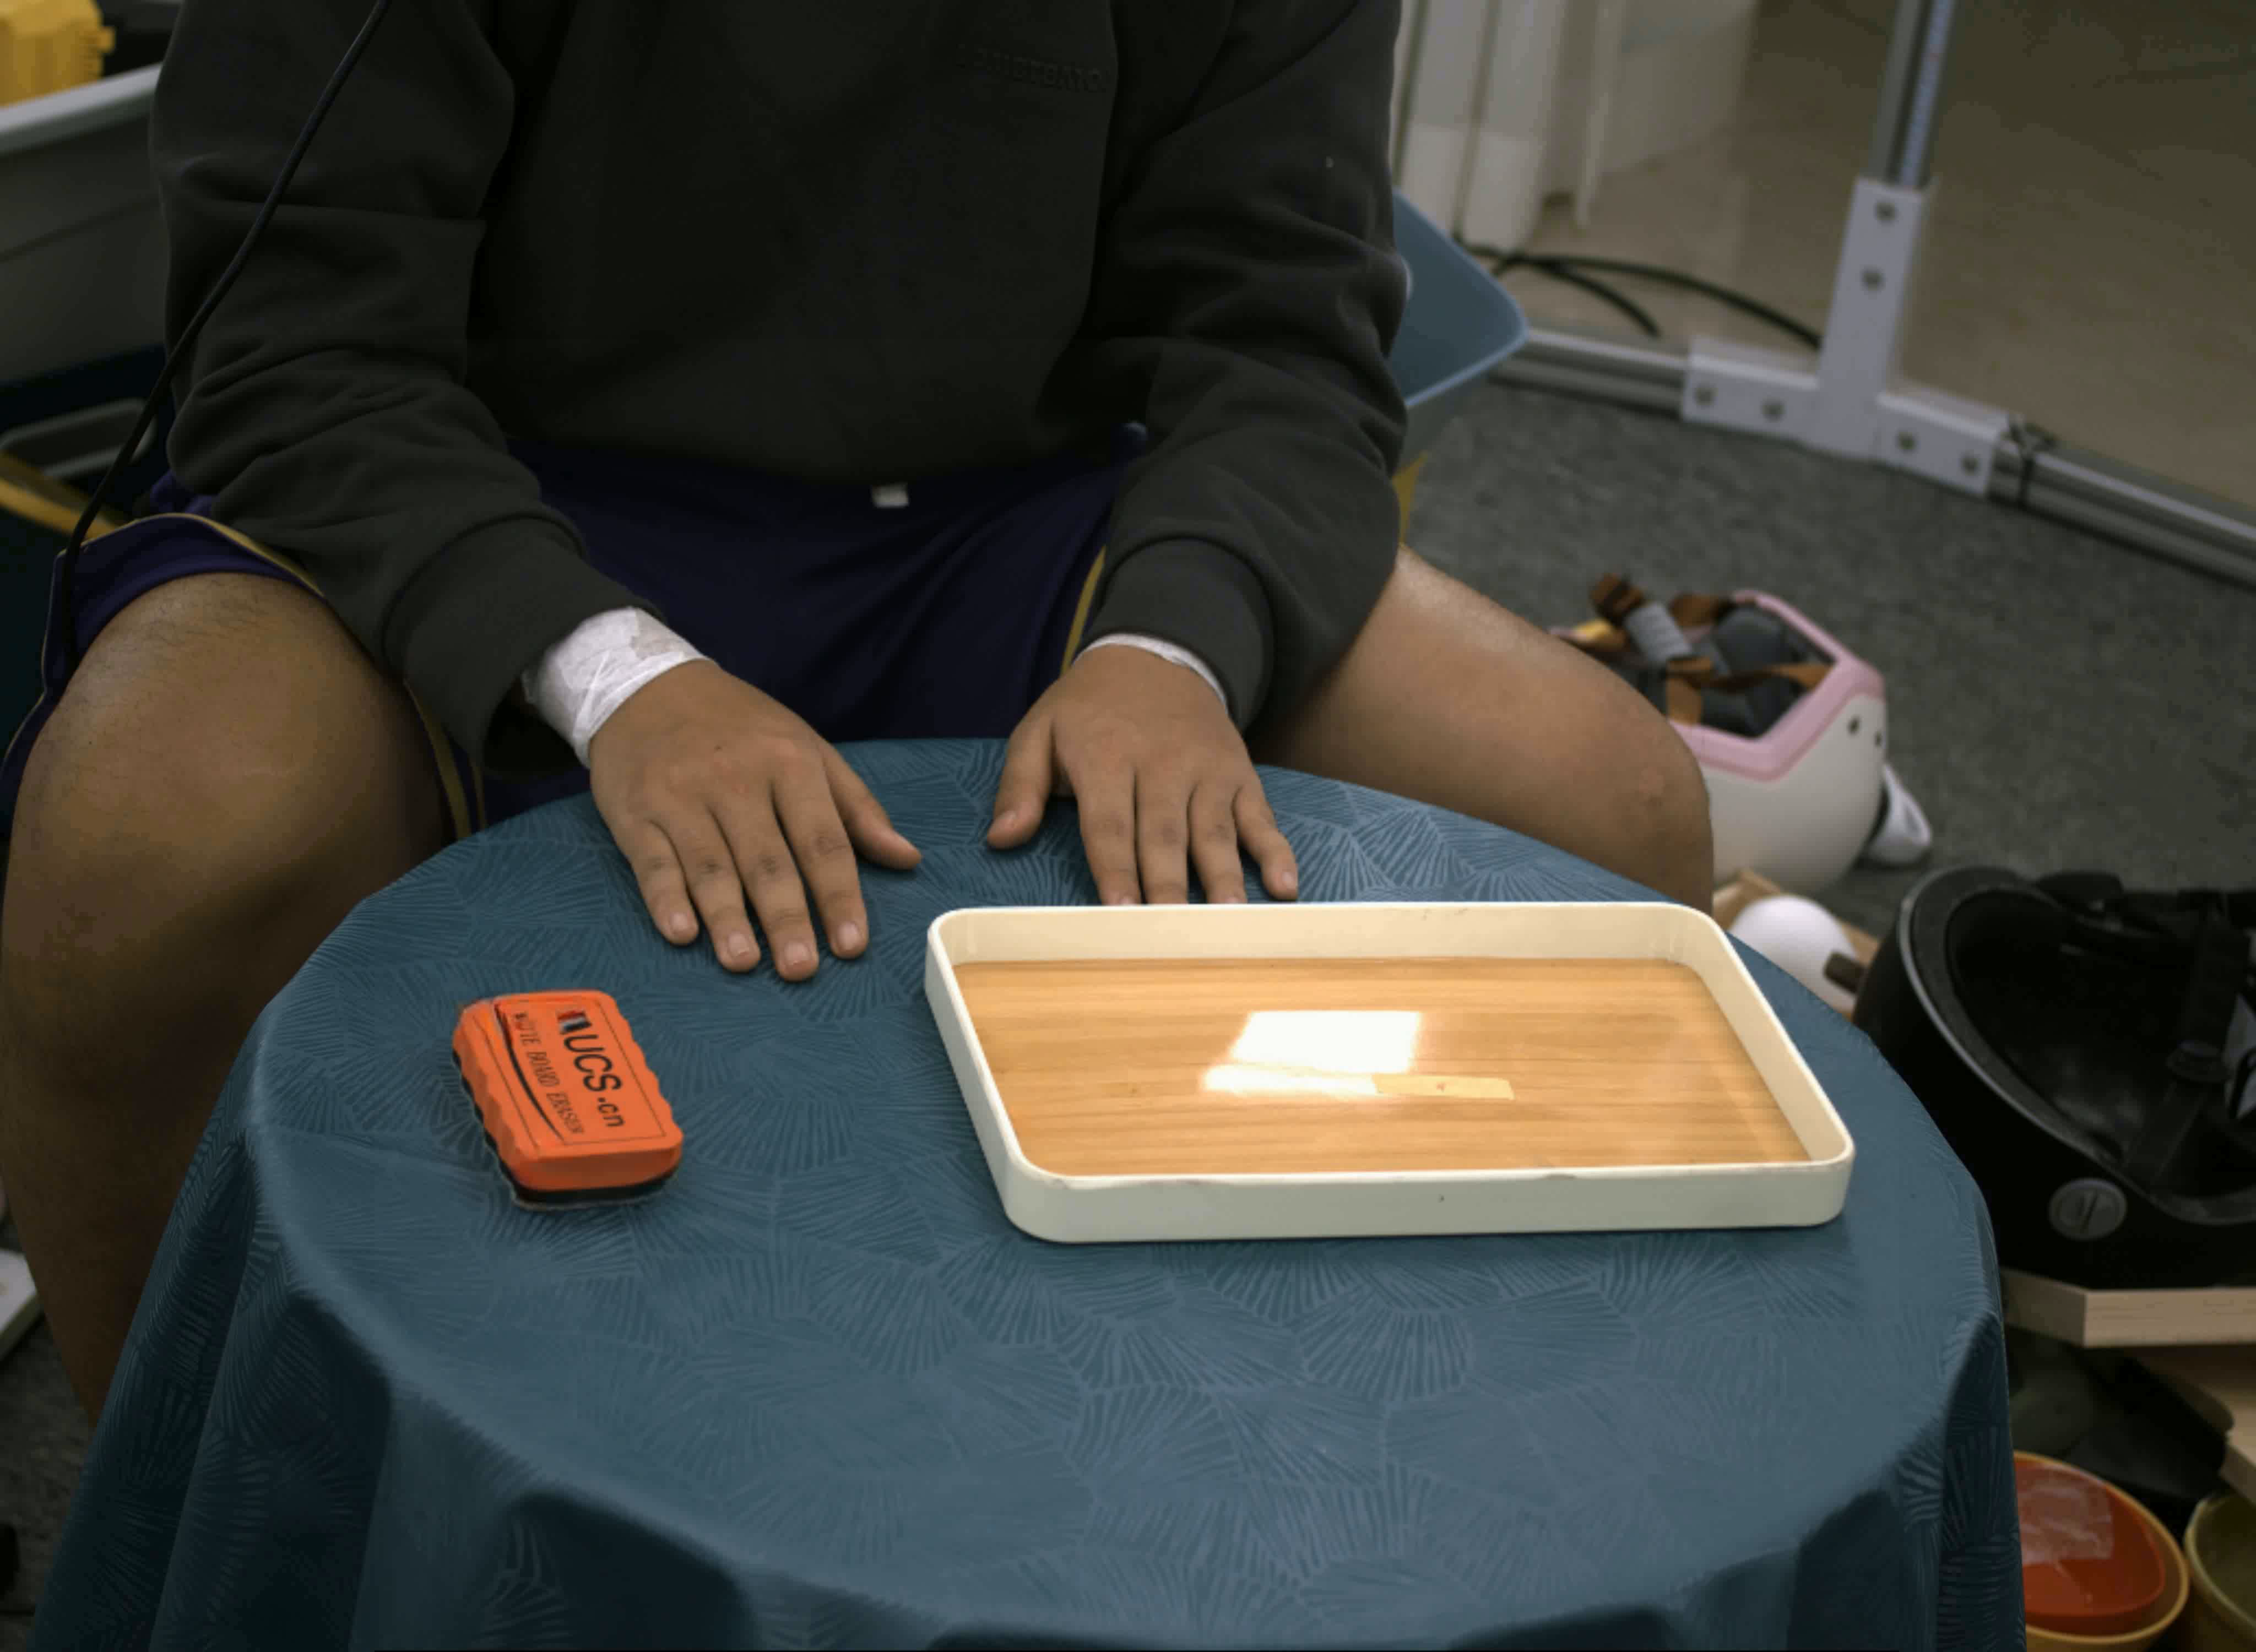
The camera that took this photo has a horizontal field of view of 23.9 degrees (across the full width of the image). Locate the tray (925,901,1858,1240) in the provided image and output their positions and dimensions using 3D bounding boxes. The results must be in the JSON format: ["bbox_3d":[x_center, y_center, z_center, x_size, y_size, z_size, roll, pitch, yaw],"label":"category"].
[{"bbox_3d":[0.089,0.084,1.870,0.298,0.027,0.193,0,28,-13],"label":"tray"}]

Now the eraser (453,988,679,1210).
[{"bbox_3d":[-0.190,0.091,1.795,0.058,0.023,0.109,-5,29,-18],"label":"eraser"}]
